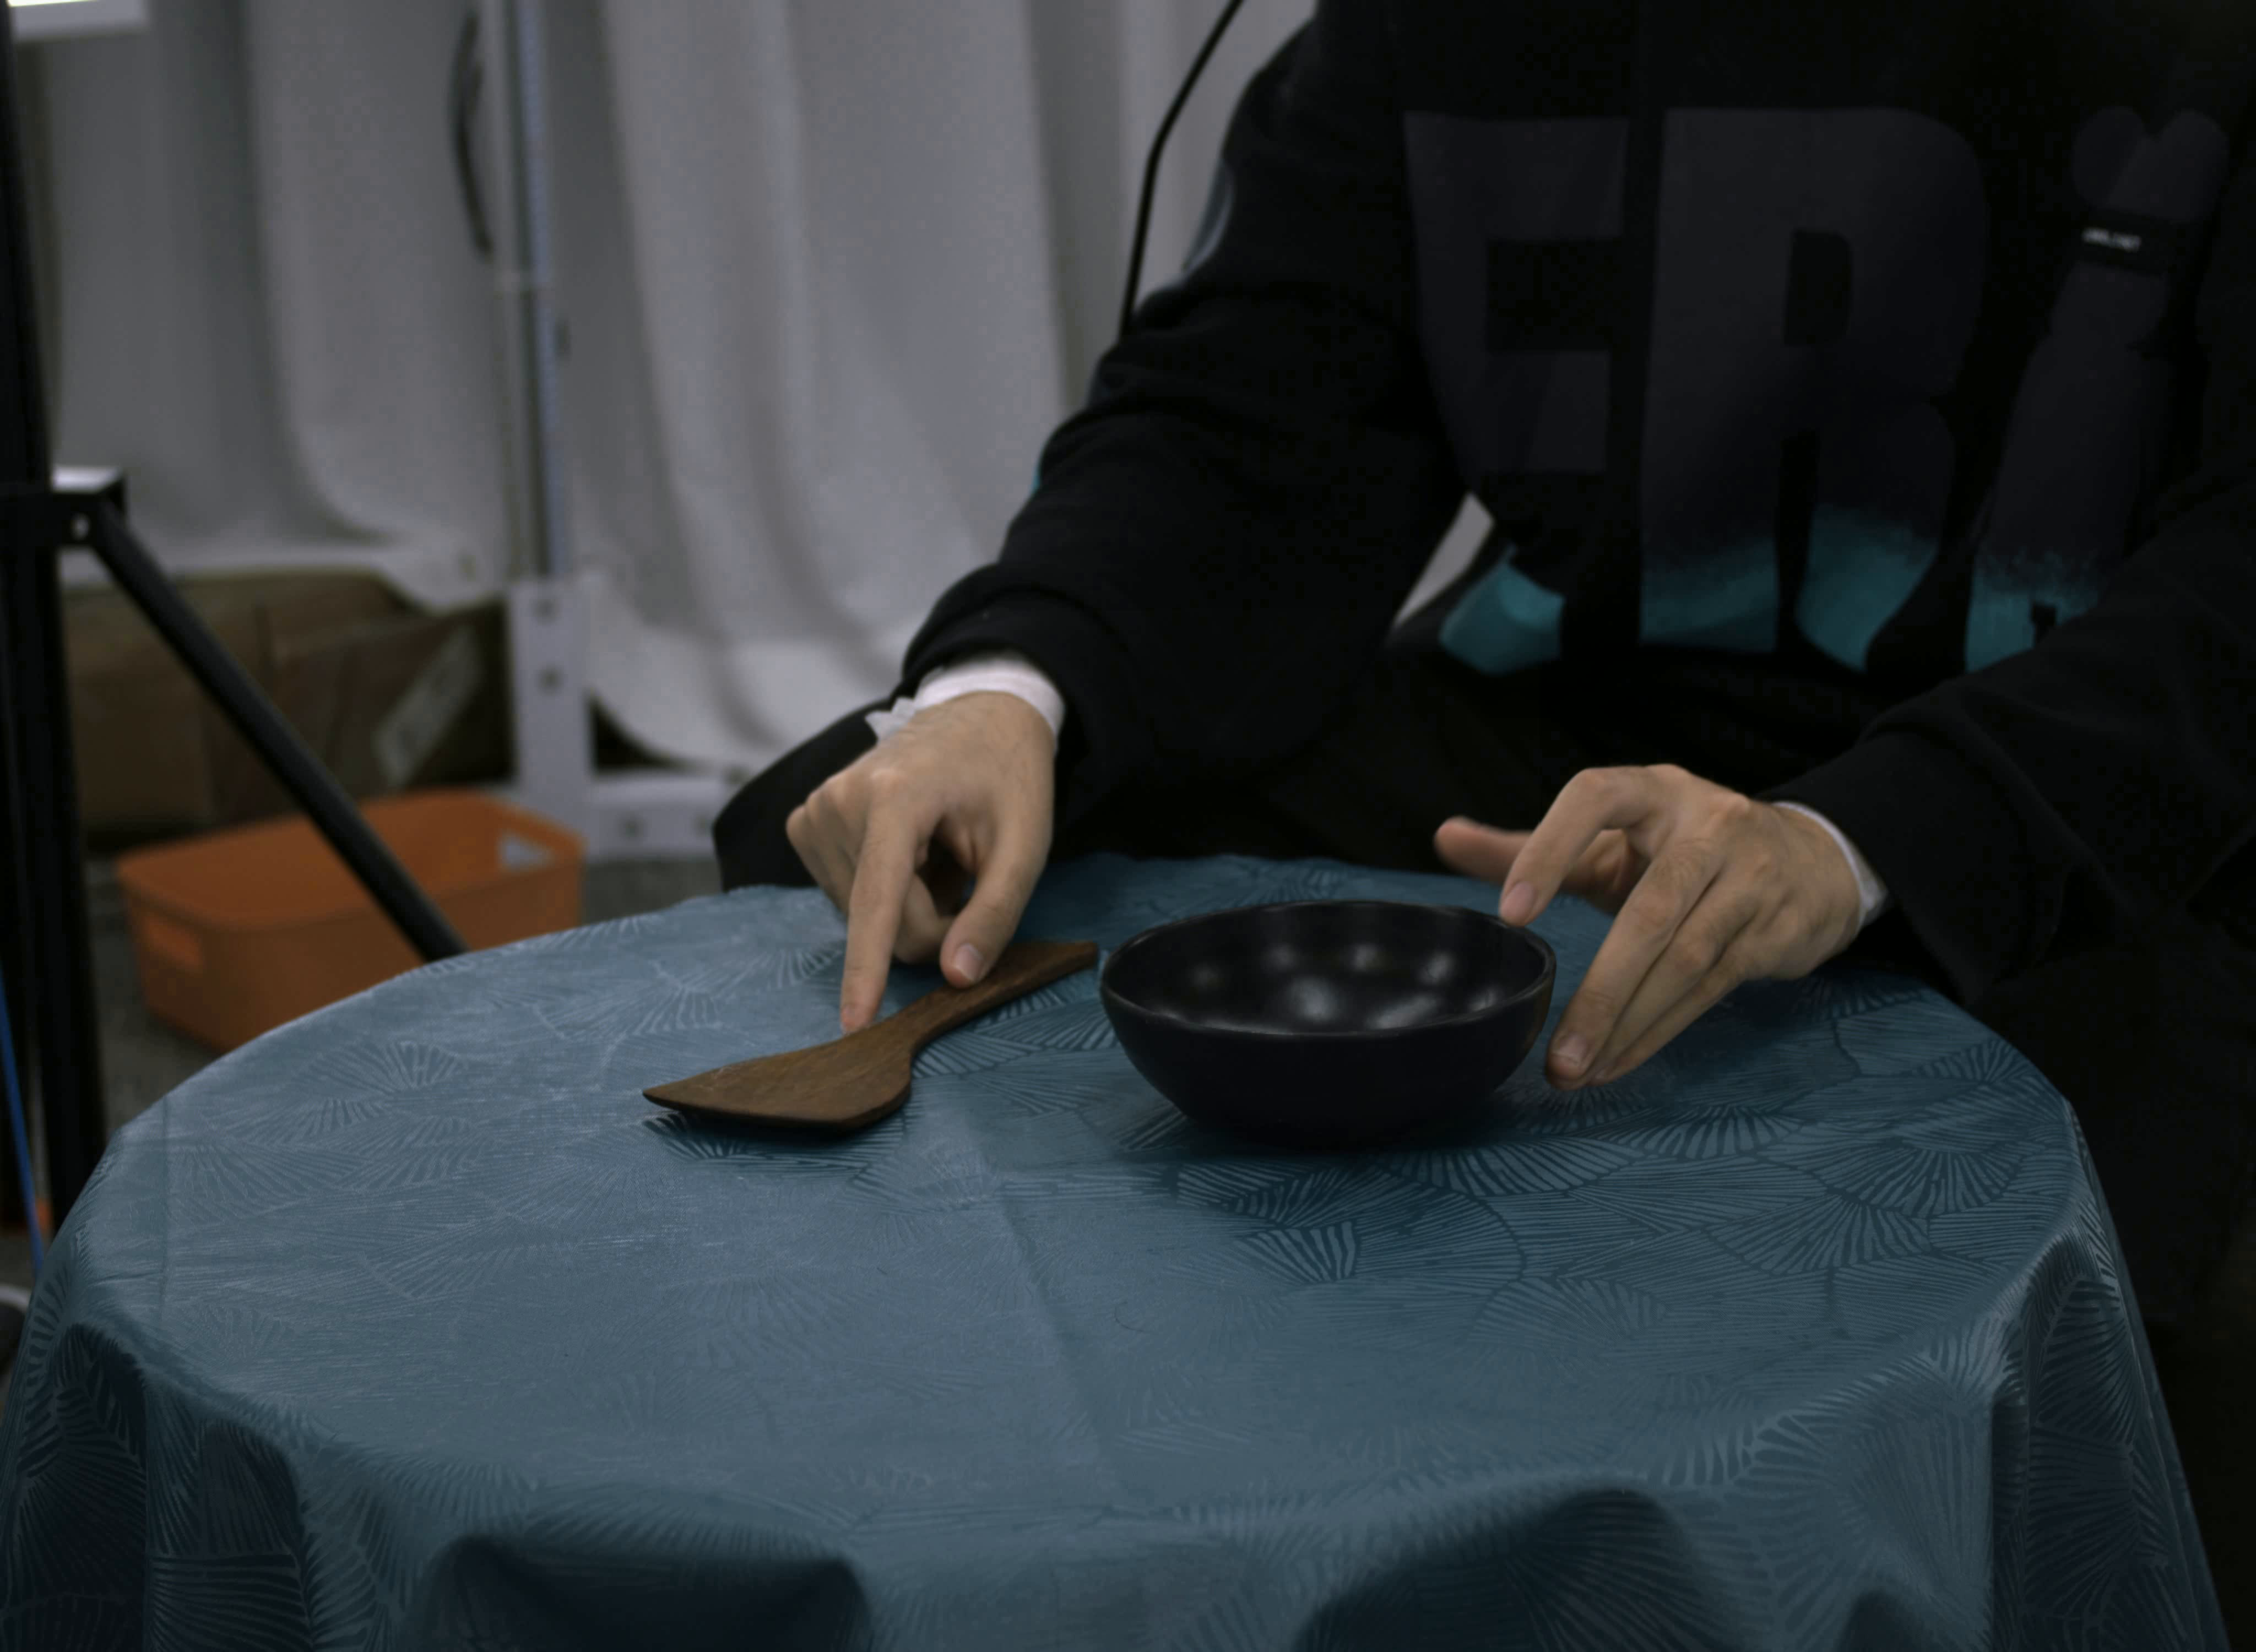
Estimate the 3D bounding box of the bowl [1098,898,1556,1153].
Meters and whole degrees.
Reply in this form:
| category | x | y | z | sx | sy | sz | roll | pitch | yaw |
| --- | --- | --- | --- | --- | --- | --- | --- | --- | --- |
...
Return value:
| category | x | y | z | sx | sy | sz | roll | pitch | yaw |
| --- | --- | --- | --- | --- | --- | --- | --- | --- | --- |
| bowl | 0.062 | 0.065 | 1.609 | 0.139 | 0.050 | 0.141 | -5 | 15 | 0 |

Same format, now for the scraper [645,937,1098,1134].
| category | x | y | z | sx | sy | sz | roll | pitch | yaw |
| --- | --- | --- | --- | --- | --- | --- | --- | --- | --- |
| scraper | -0.070 | 0.066 | 1.705 | 0.077 | 0.011 | 0.207 | 8 | 18 | 29 |
